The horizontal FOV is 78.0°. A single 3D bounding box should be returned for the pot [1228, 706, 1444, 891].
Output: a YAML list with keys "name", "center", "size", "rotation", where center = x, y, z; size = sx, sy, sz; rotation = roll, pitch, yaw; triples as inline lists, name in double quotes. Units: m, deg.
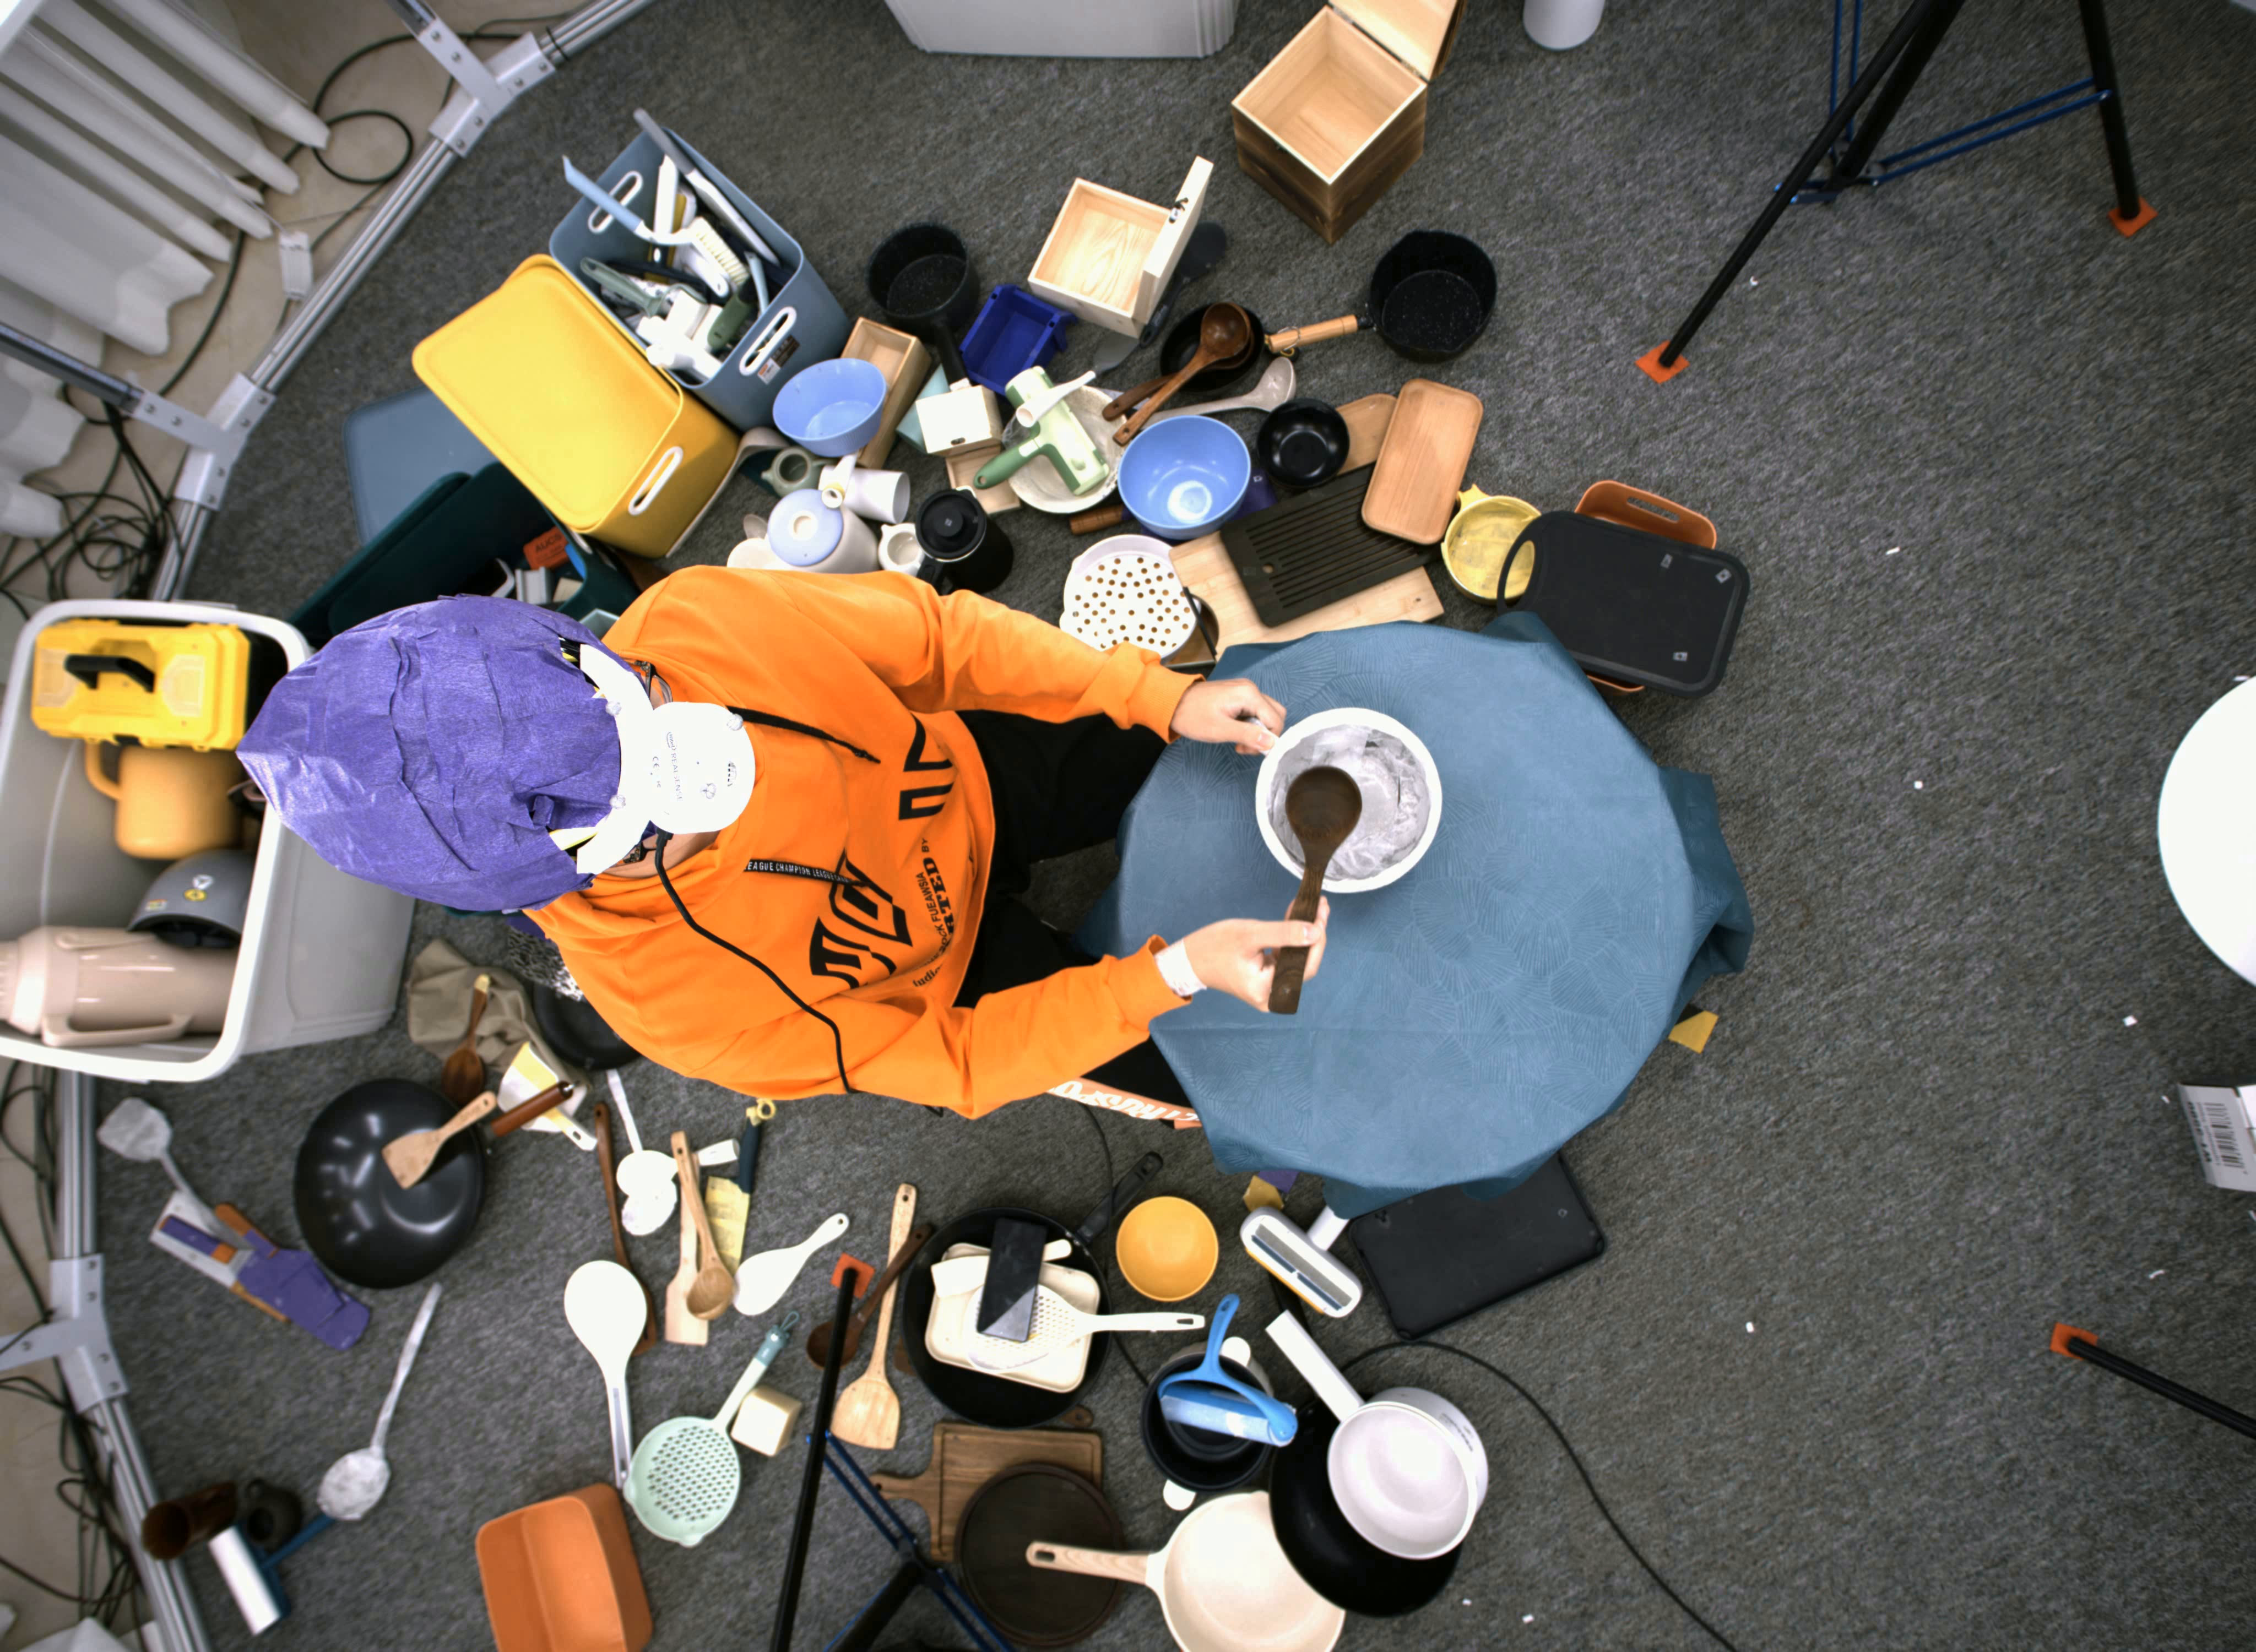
- name: "pot"
  center: [0.197, -0.042, 1.379]
  size: [0.233, 0.136, 0.179]
  rotation: [35, 96, 7]

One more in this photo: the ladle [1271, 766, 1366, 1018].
- name: "ladle"
  center: [0.163, 0.049, 1.251]
  size: [0.076, 0.266, 0.073]
  rotation: [2, 131, 18]
